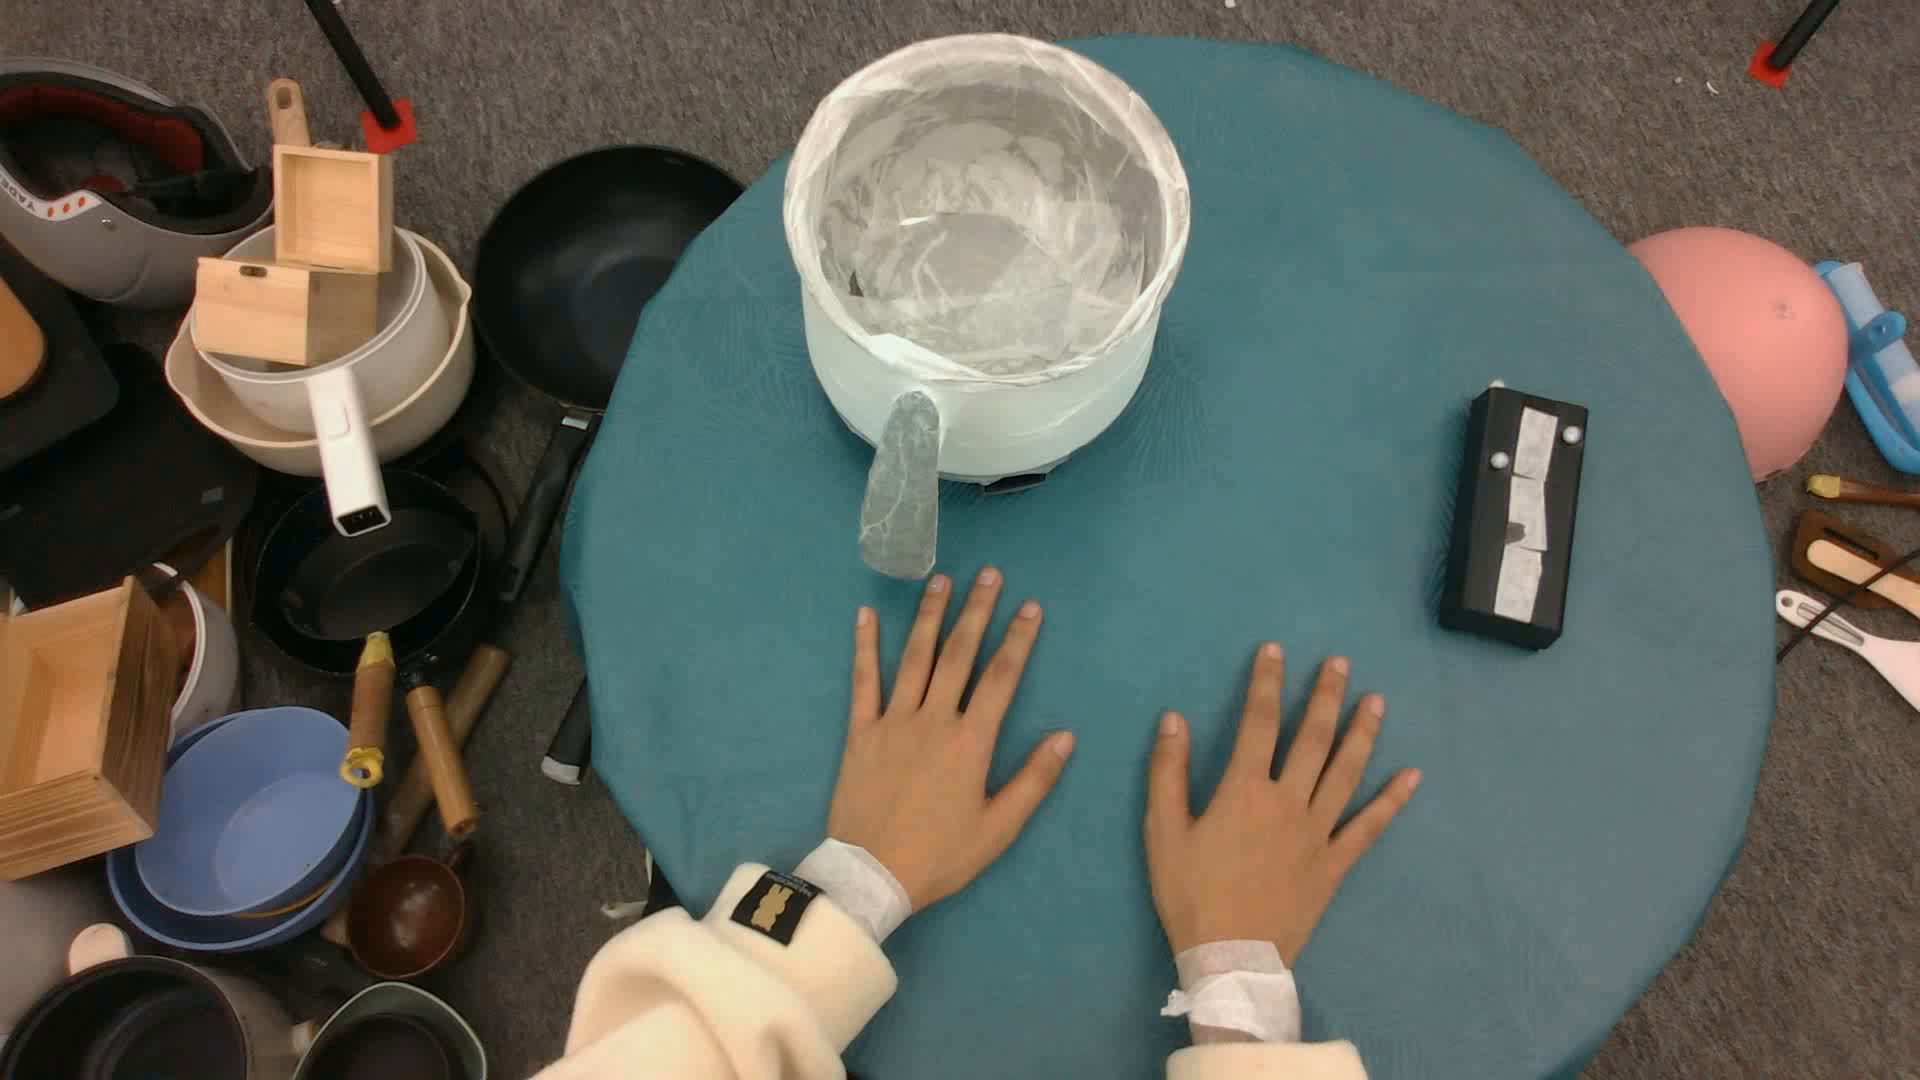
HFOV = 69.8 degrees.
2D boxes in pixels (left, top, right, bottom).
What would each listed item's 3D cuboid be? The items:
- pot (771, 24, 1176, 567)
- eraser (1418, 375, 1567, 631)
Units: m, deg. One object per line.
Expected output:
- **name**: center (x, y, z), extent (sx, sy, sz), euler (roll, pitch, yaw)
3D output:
- **pot**: center (-0.003, -0.107, 0.650), extent (0.178, 0.136, 0.234), euler (15, 70, 3)
- **eraser**: center (0.266, -0.020, 0.689), extent (0.053, 0.030, 0.126), euler (14, 72, 3)
